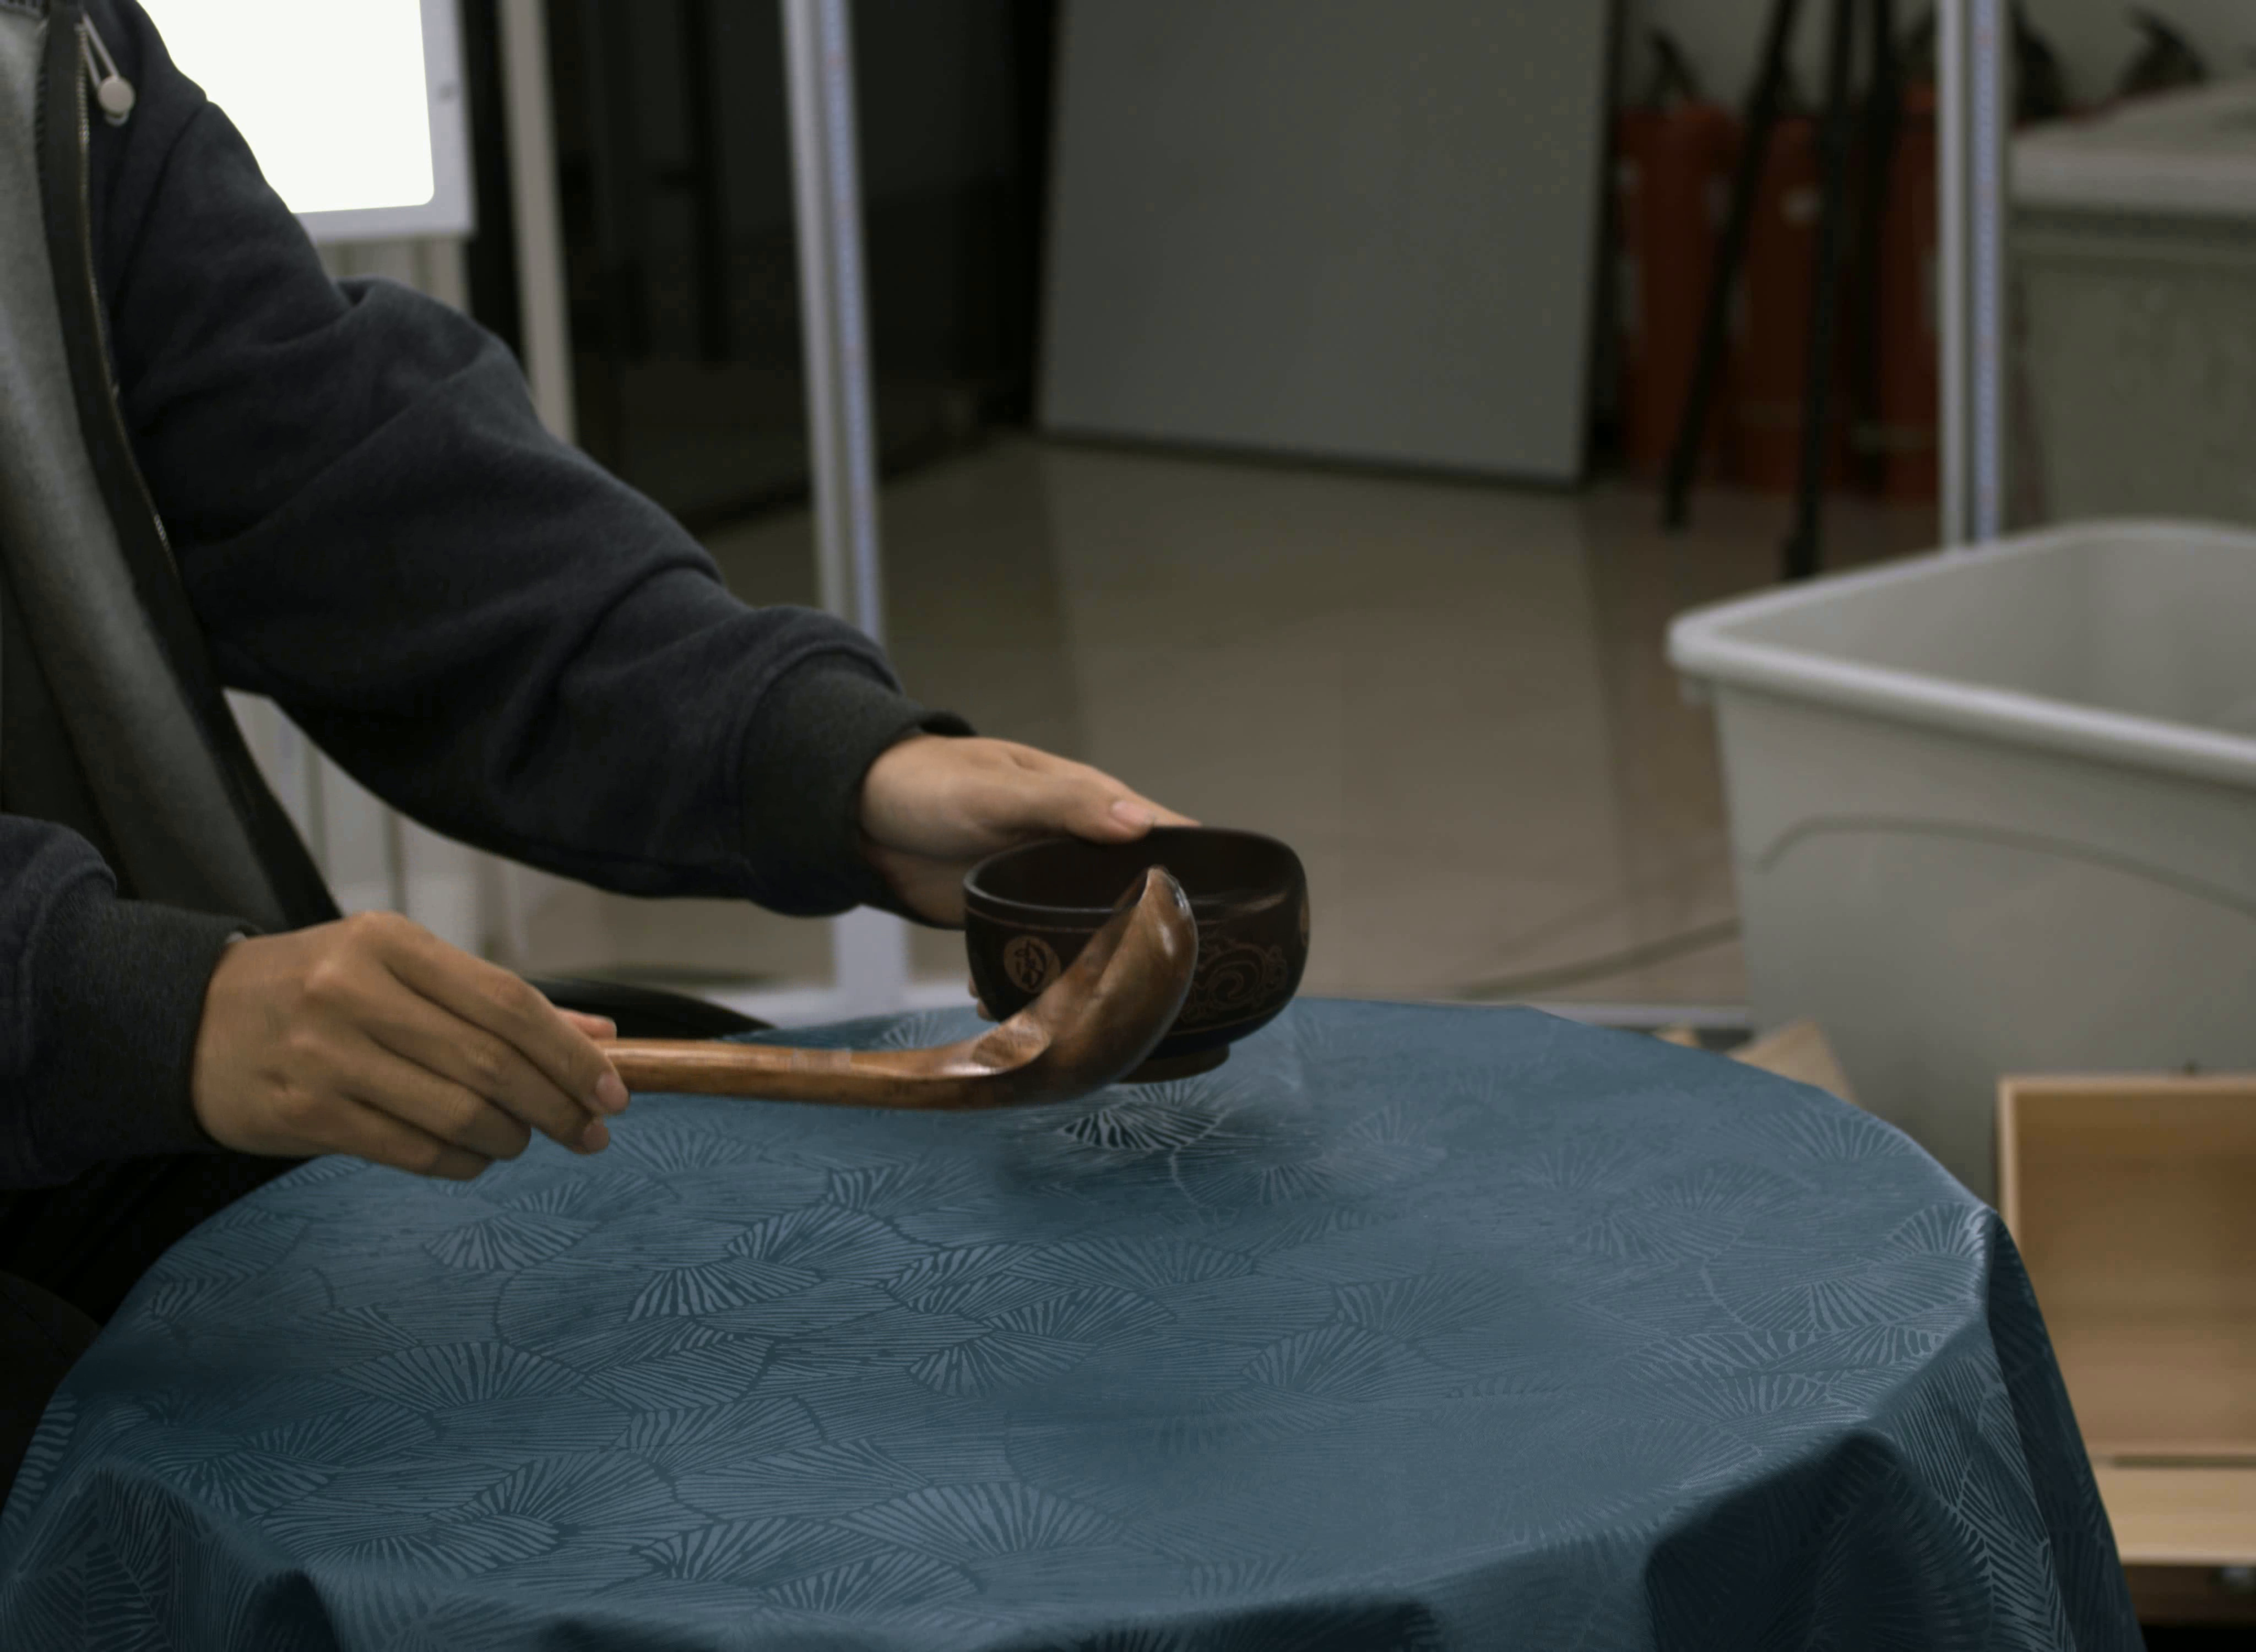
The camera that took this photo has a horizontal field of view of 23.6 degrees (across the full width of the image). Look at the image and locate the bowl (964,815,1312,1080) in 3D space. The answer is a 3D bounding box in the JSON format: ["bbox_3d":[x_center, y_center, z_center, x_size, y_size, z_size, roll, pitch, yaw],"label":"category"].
[{"bbox_3d":[0.004,0.044,1.812,0.116,0.070,0.118,-4,14,0],"label":"bowl"}]

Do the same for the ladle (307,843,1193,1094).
[{"bbox_3d":[-0.115,0.043,1.620,0.271,0.077,0.081,1,14,8],"label":"ladle"}]
